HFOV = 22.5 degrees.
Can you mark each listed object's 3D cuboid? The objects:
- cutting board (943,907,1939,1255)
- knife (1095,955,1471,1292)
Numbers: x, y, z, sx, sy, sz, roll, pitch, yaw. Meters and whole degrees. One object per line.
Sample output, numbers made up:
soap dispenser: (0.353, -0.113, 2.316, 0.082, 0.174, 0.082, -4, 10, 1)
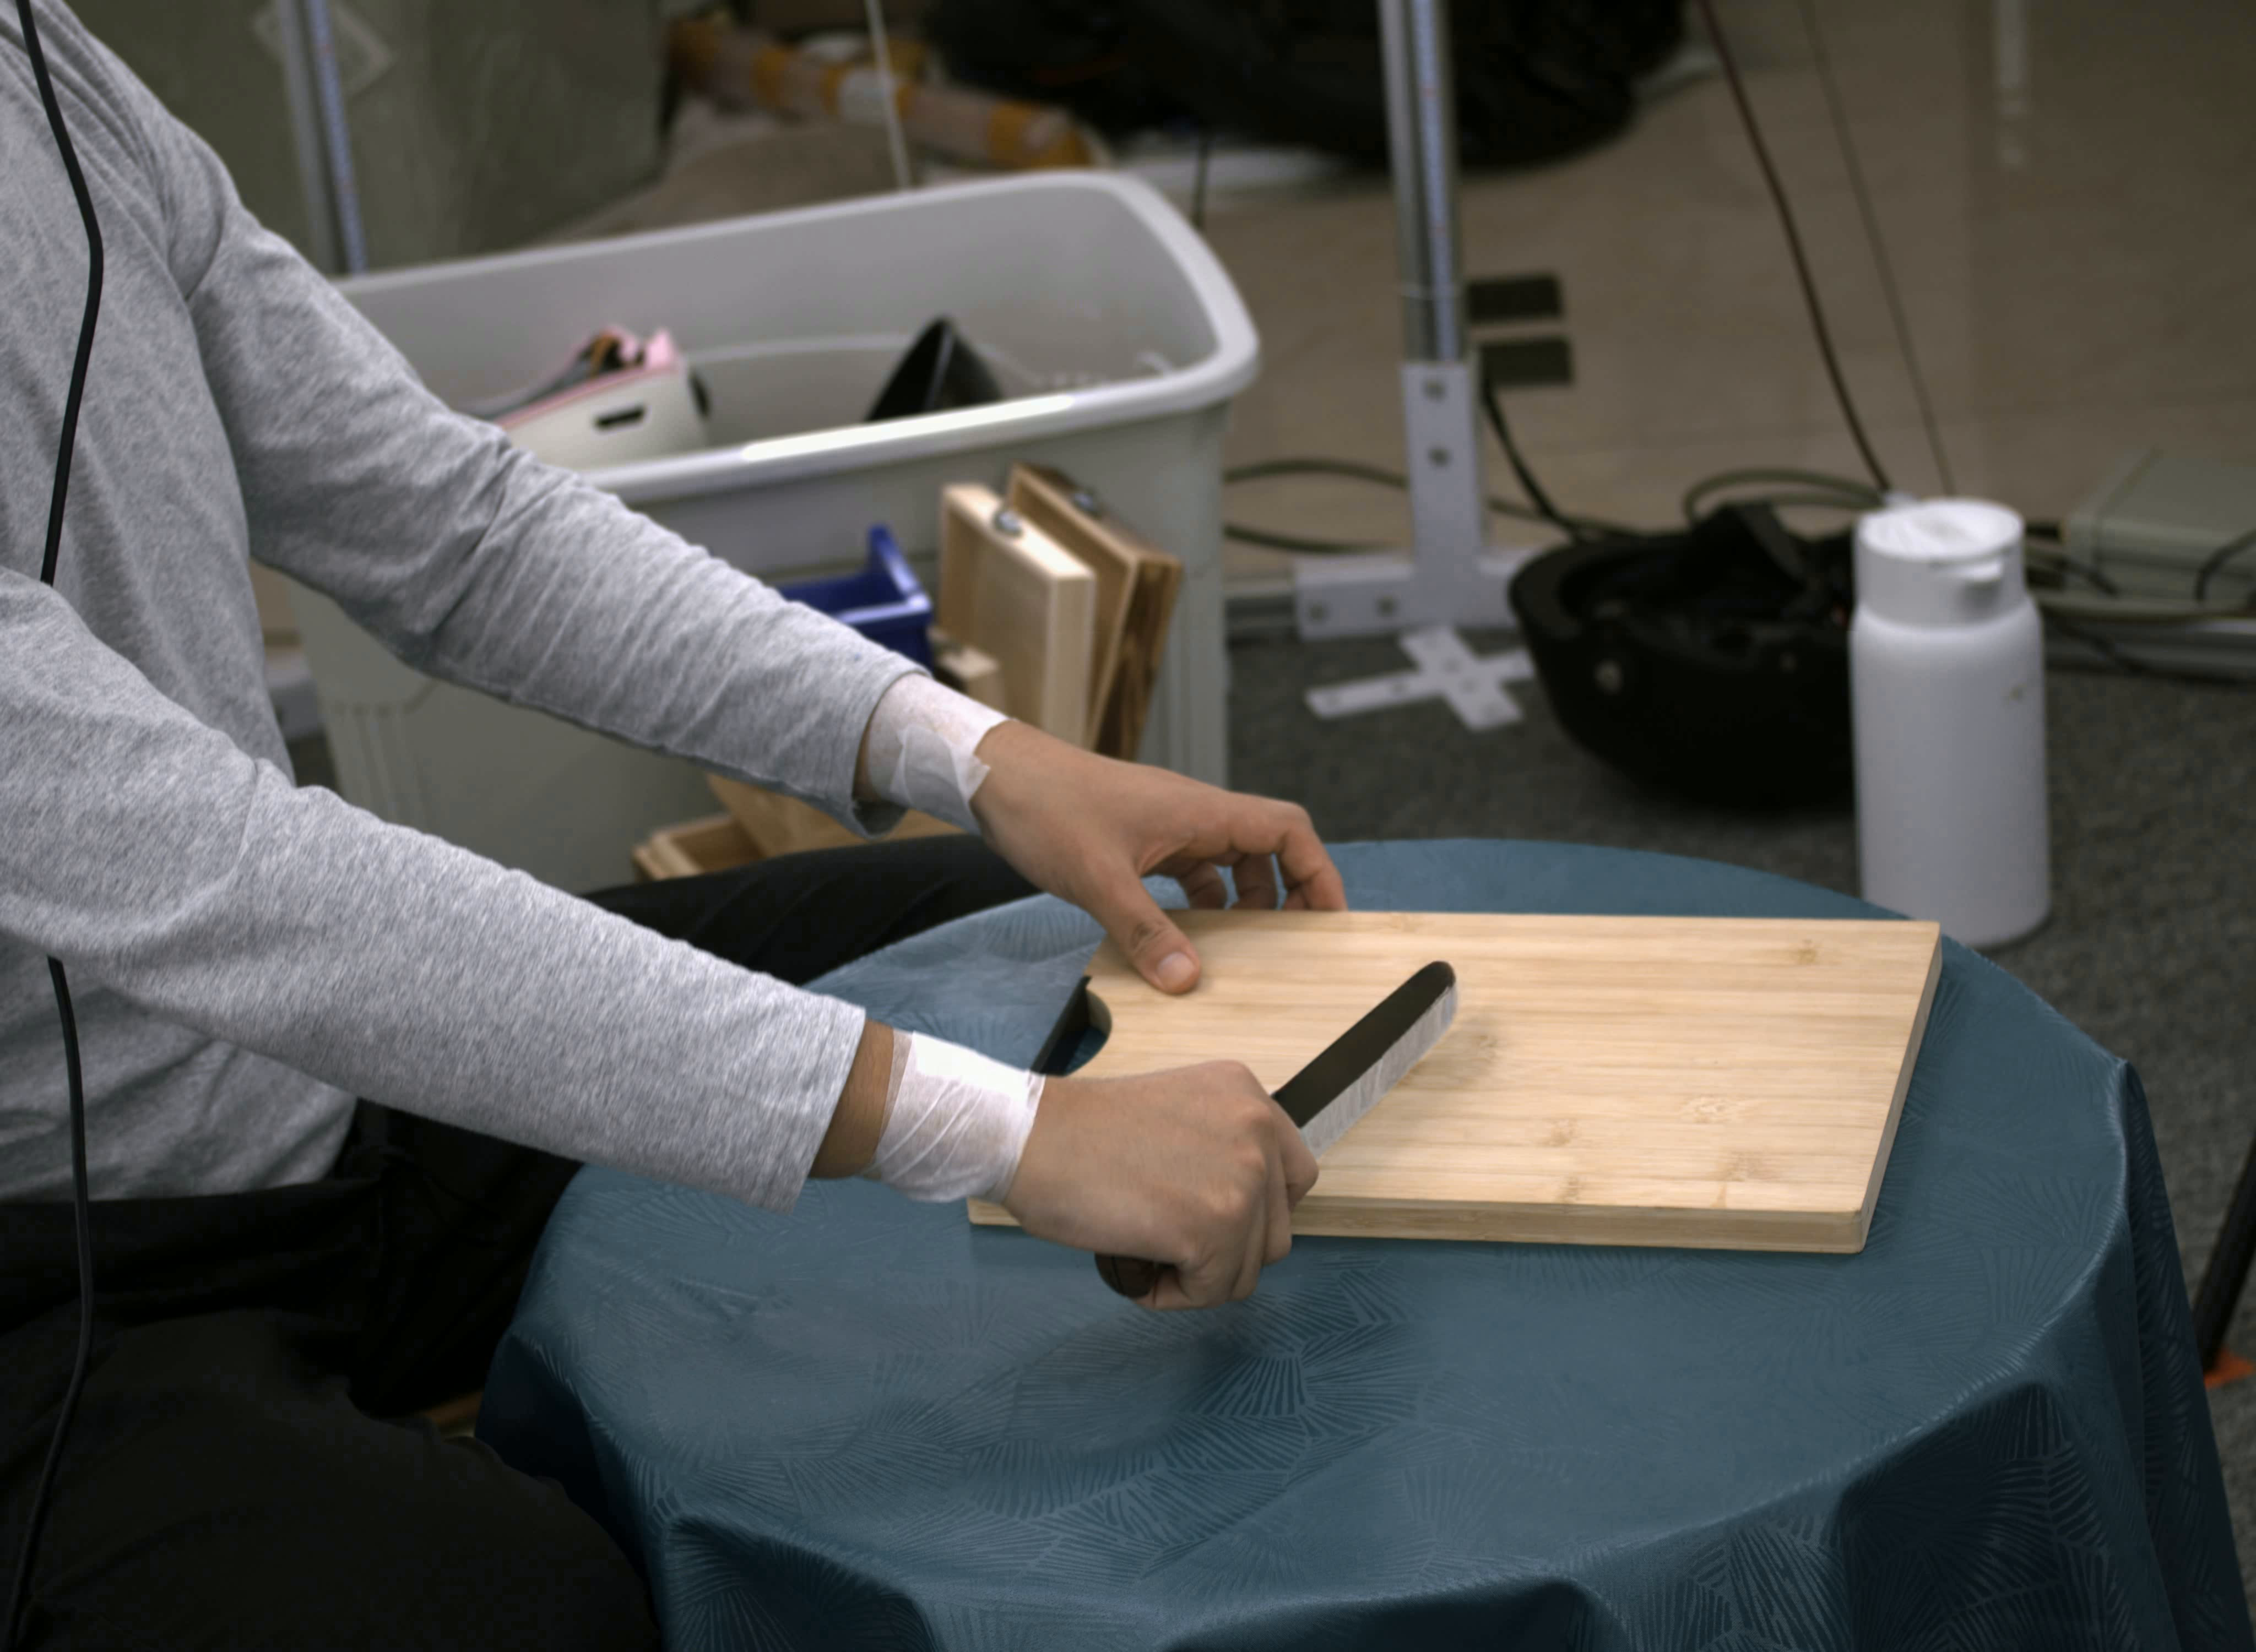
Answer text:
cutting board: (0.126, 0.095, 2.197, 0.348, 0.024, 0.247, 1, 25, 15)
knife: (0.064, 0.107, 2.099, 0.020, 0.051, 0.286, 19, 28, 24)
